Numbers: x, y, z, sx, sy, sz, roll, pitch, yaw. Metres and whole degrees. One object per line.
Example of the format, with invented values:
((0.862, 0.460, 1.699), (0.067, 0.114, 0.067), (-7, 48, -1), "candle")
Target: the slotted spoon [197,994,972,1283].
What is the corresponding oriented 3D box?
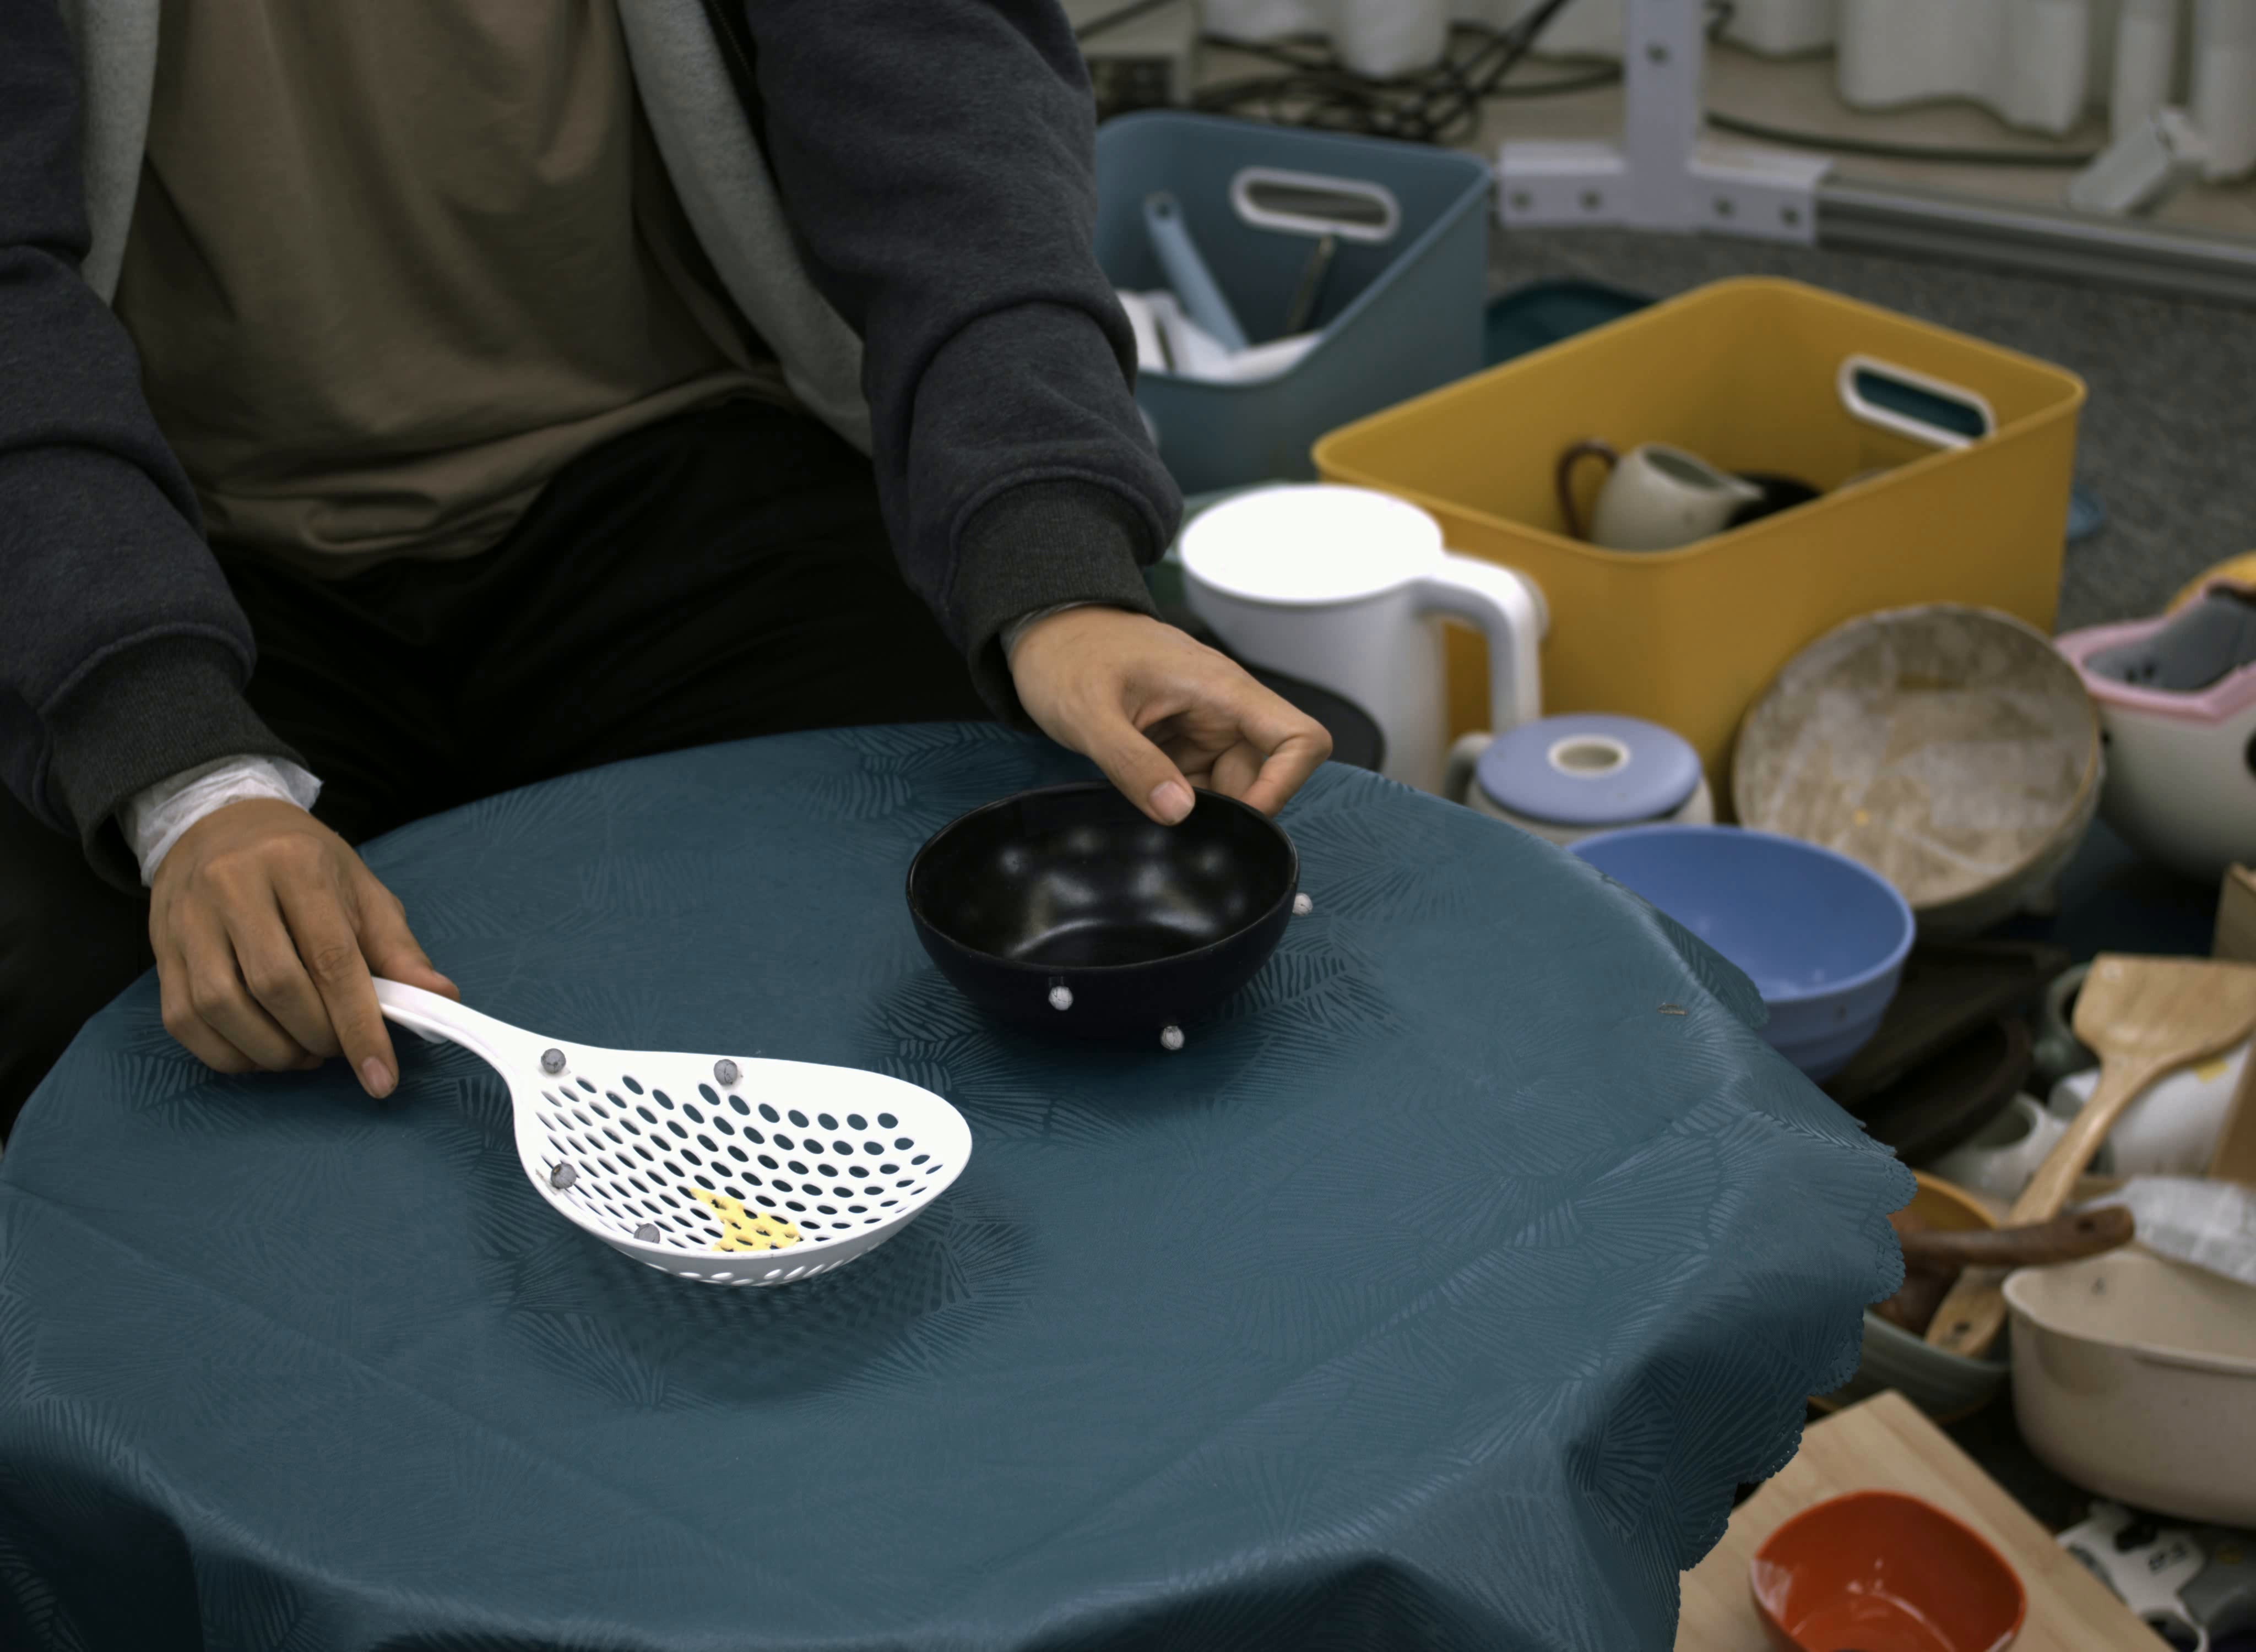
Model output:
((-0.198, 0.091, 1.898), (0.347, 0.050, 0.138), (21, 35, 39), "slotted spoon")
